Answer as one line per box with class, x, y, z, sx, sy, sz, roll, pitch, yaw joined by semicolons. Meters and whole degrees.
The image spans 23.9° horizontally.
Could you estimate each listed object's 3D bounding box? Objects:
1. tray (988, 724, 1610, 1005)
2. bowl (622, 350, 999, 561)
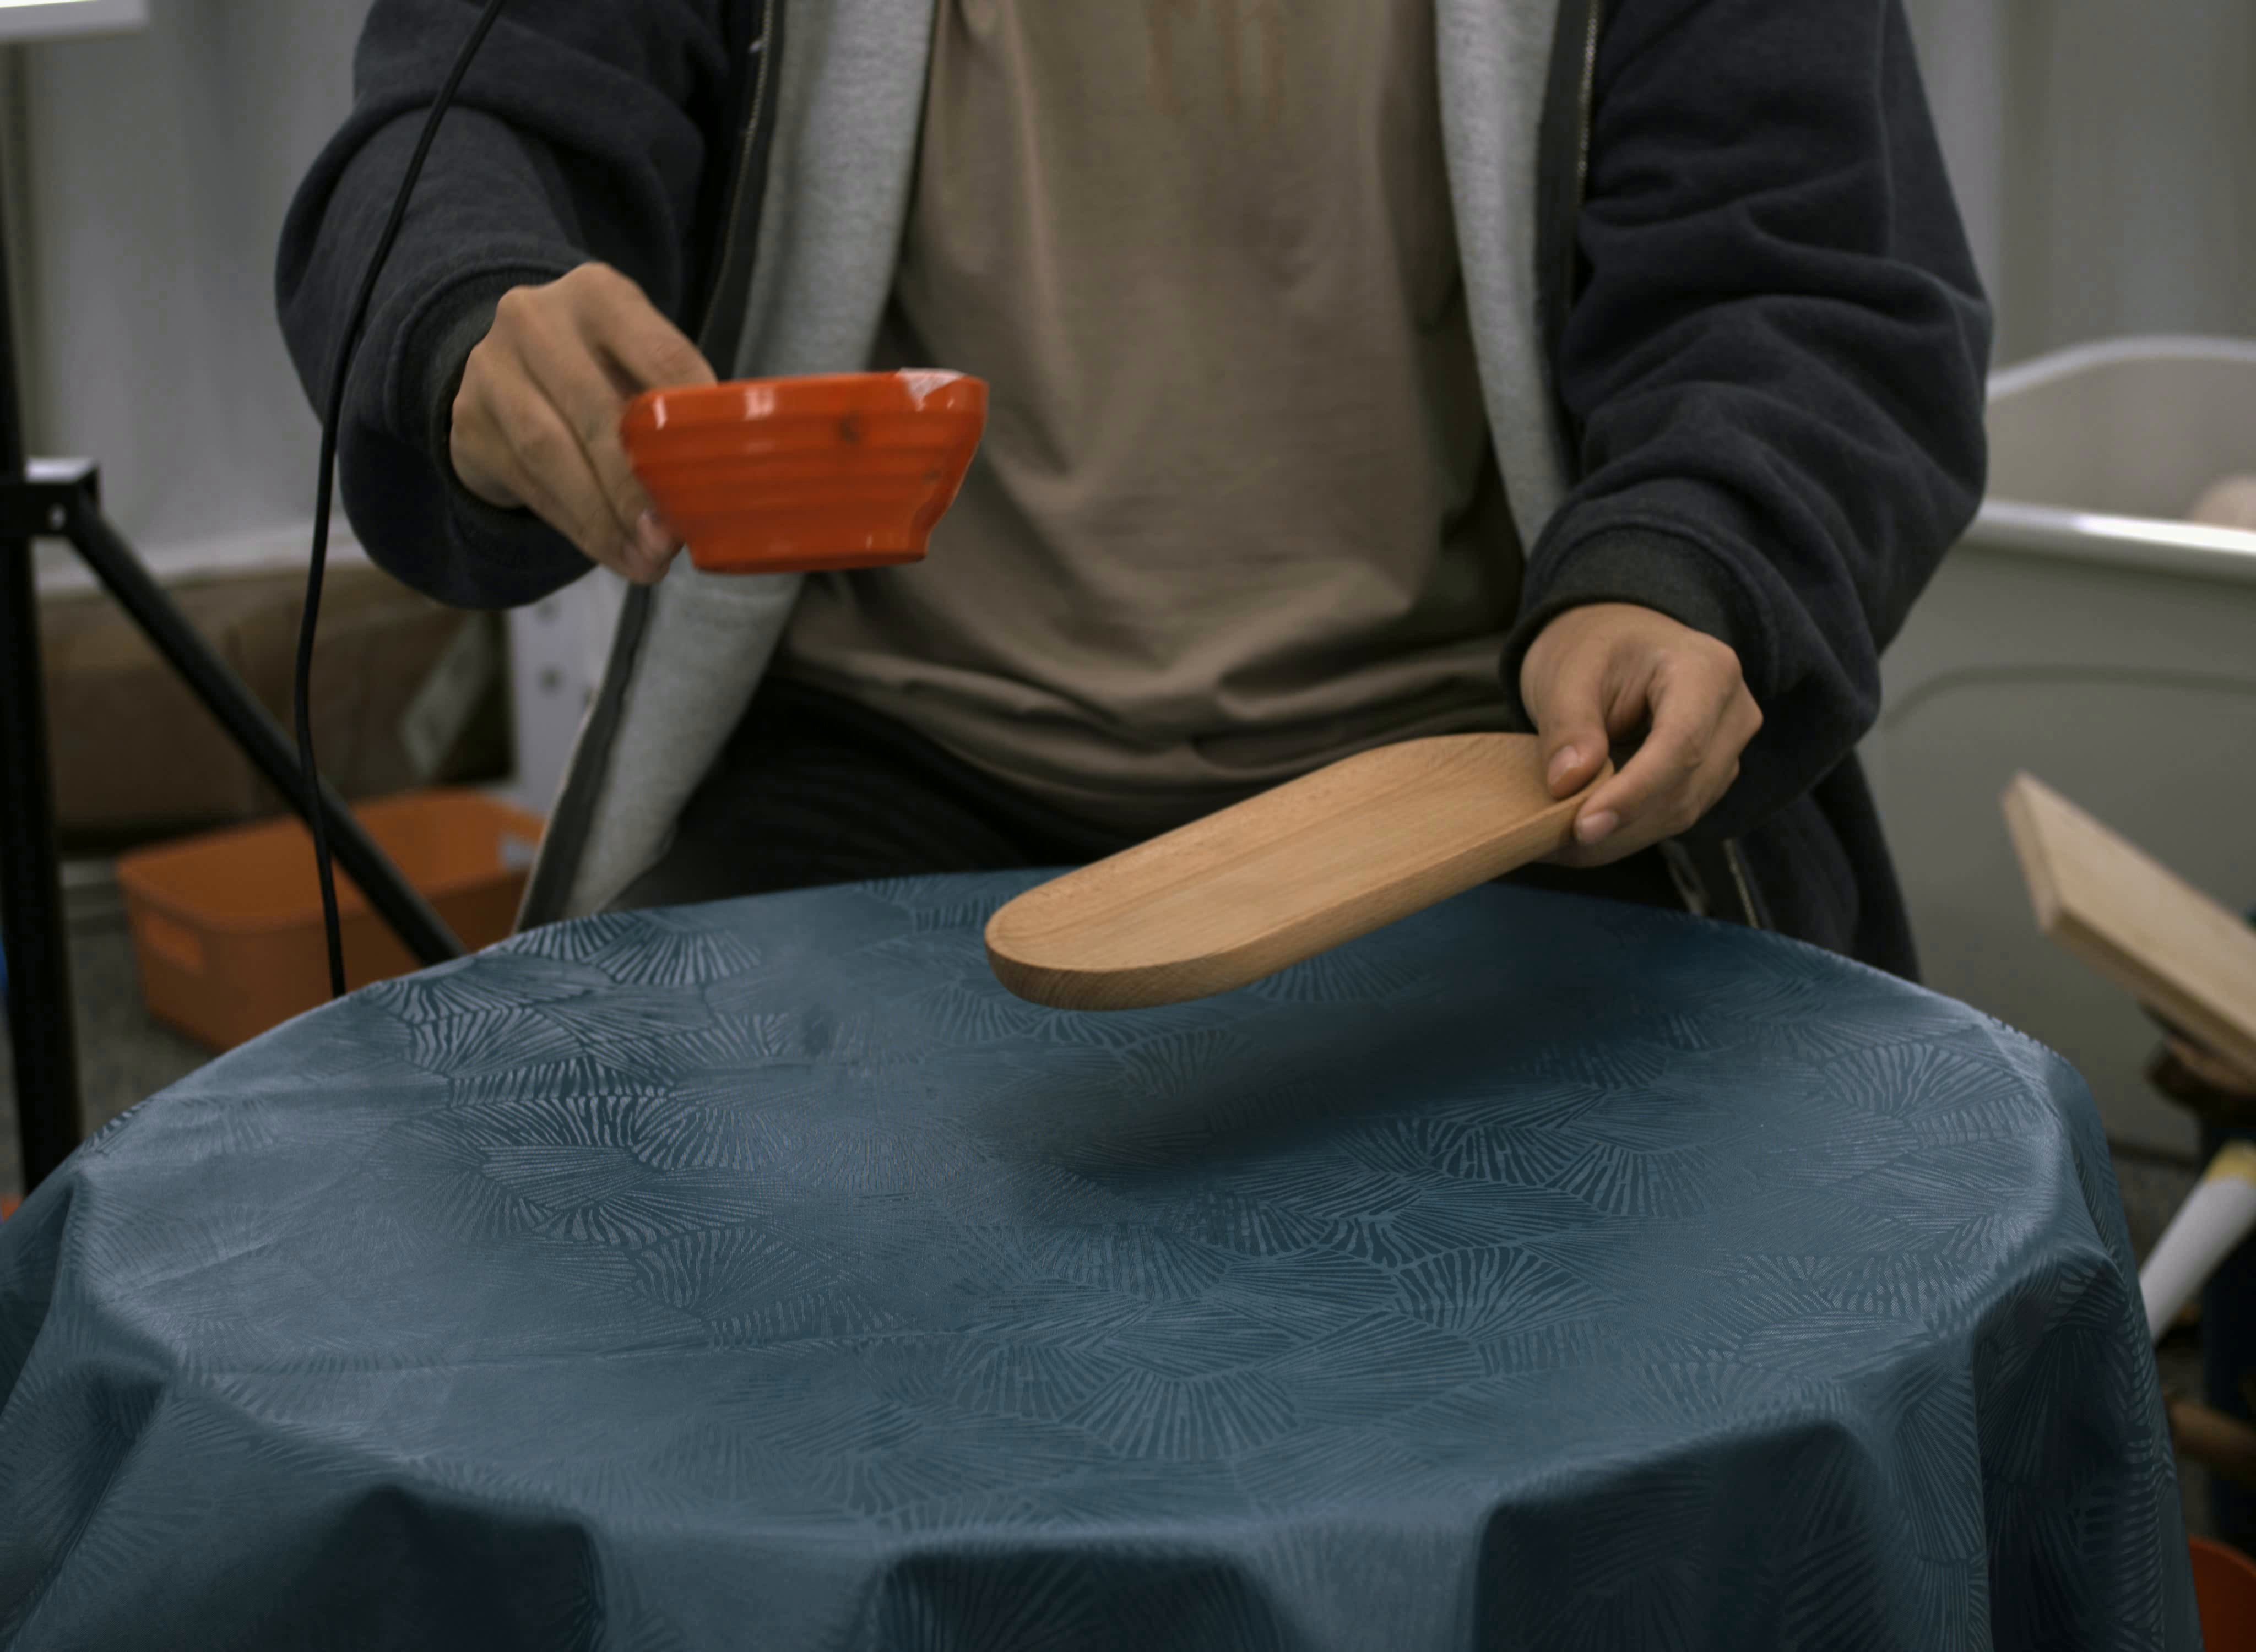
tray;0.055;0.010;1.628;0.226;0.020;0.104;-22;23;-39
bowl;-0.091;-0.106;1.562;0.118;0.051;0.119;-3;-2;-1
